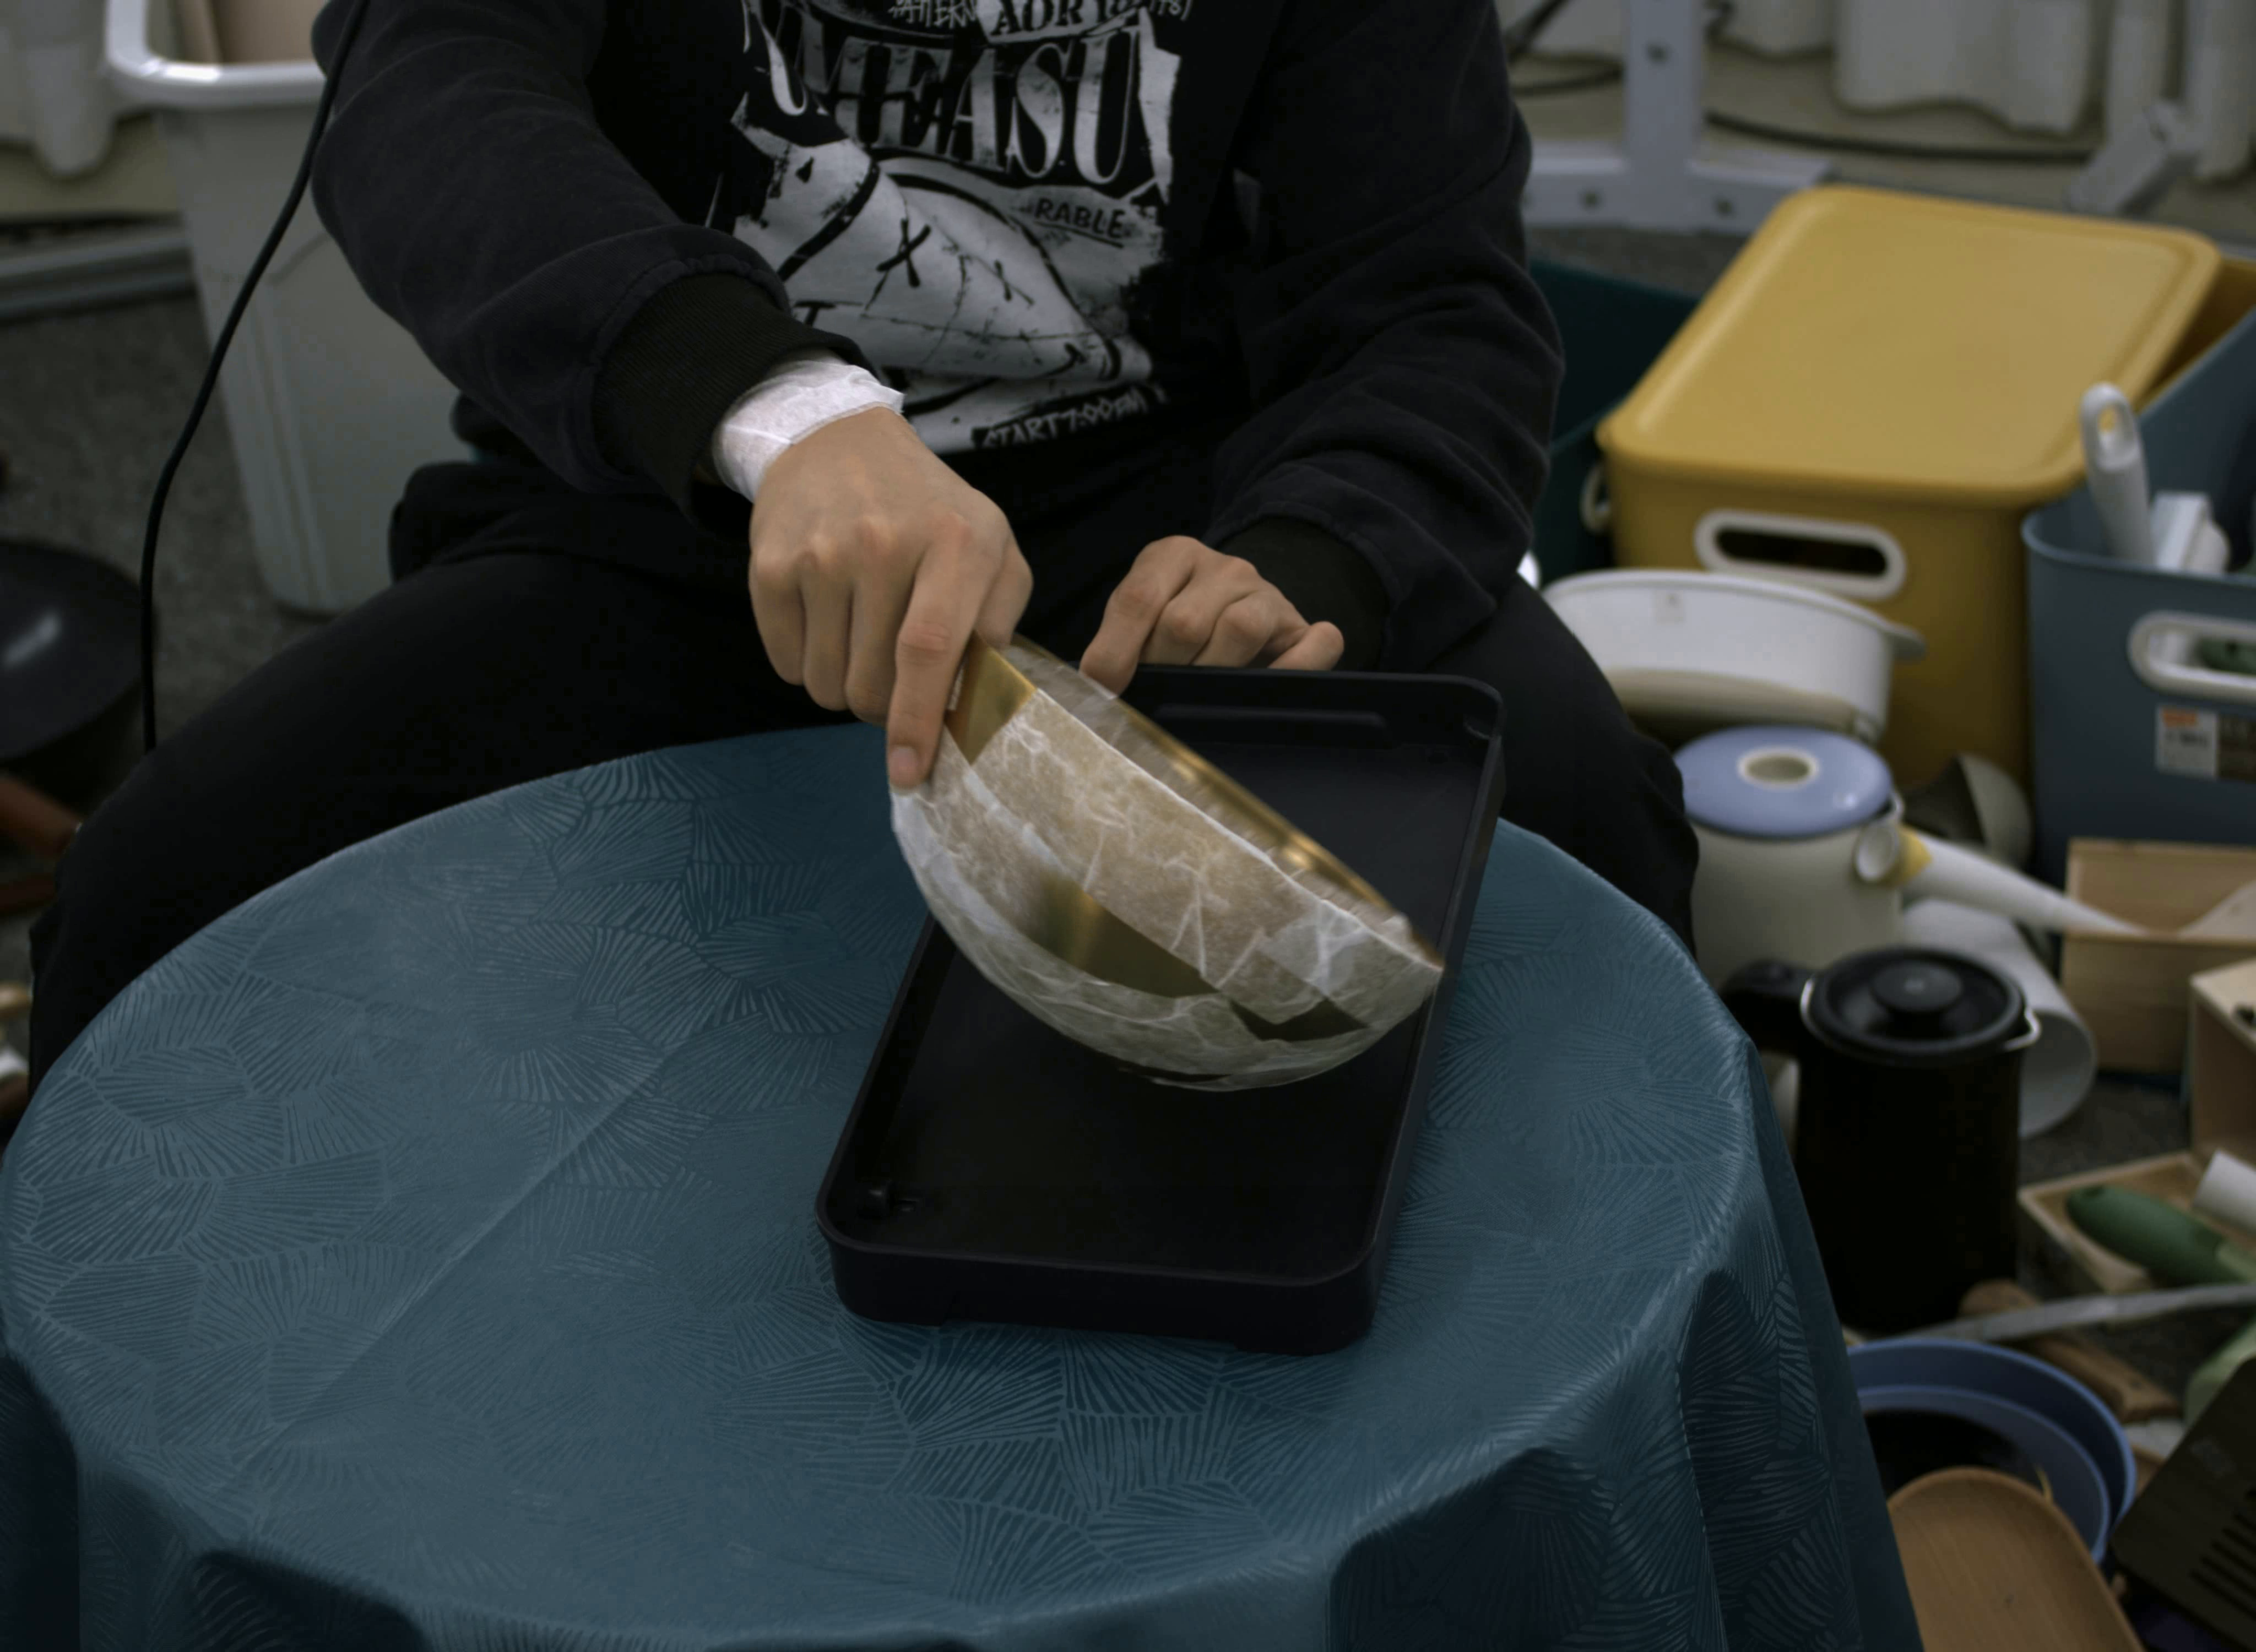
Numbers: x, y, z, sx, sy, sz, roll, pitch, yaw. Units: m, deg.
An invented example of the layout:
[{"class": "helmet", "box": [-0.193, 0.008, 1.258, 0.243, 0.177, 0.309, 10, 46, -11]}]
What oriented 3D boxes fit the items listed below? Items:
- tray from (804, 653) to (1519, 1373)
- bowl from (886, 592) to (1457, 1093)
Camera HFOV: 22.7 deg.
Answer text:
[{"class": "tray", "box": [0.018, 0.056, 1.896, 0.183, 0.036, 0.324, 5, 40, 13]}, {"class": "bowl", "box": [-0.004, 0.023, 1.827, 0.214, 0.094, 0.215, 36, 3, -1]}]
